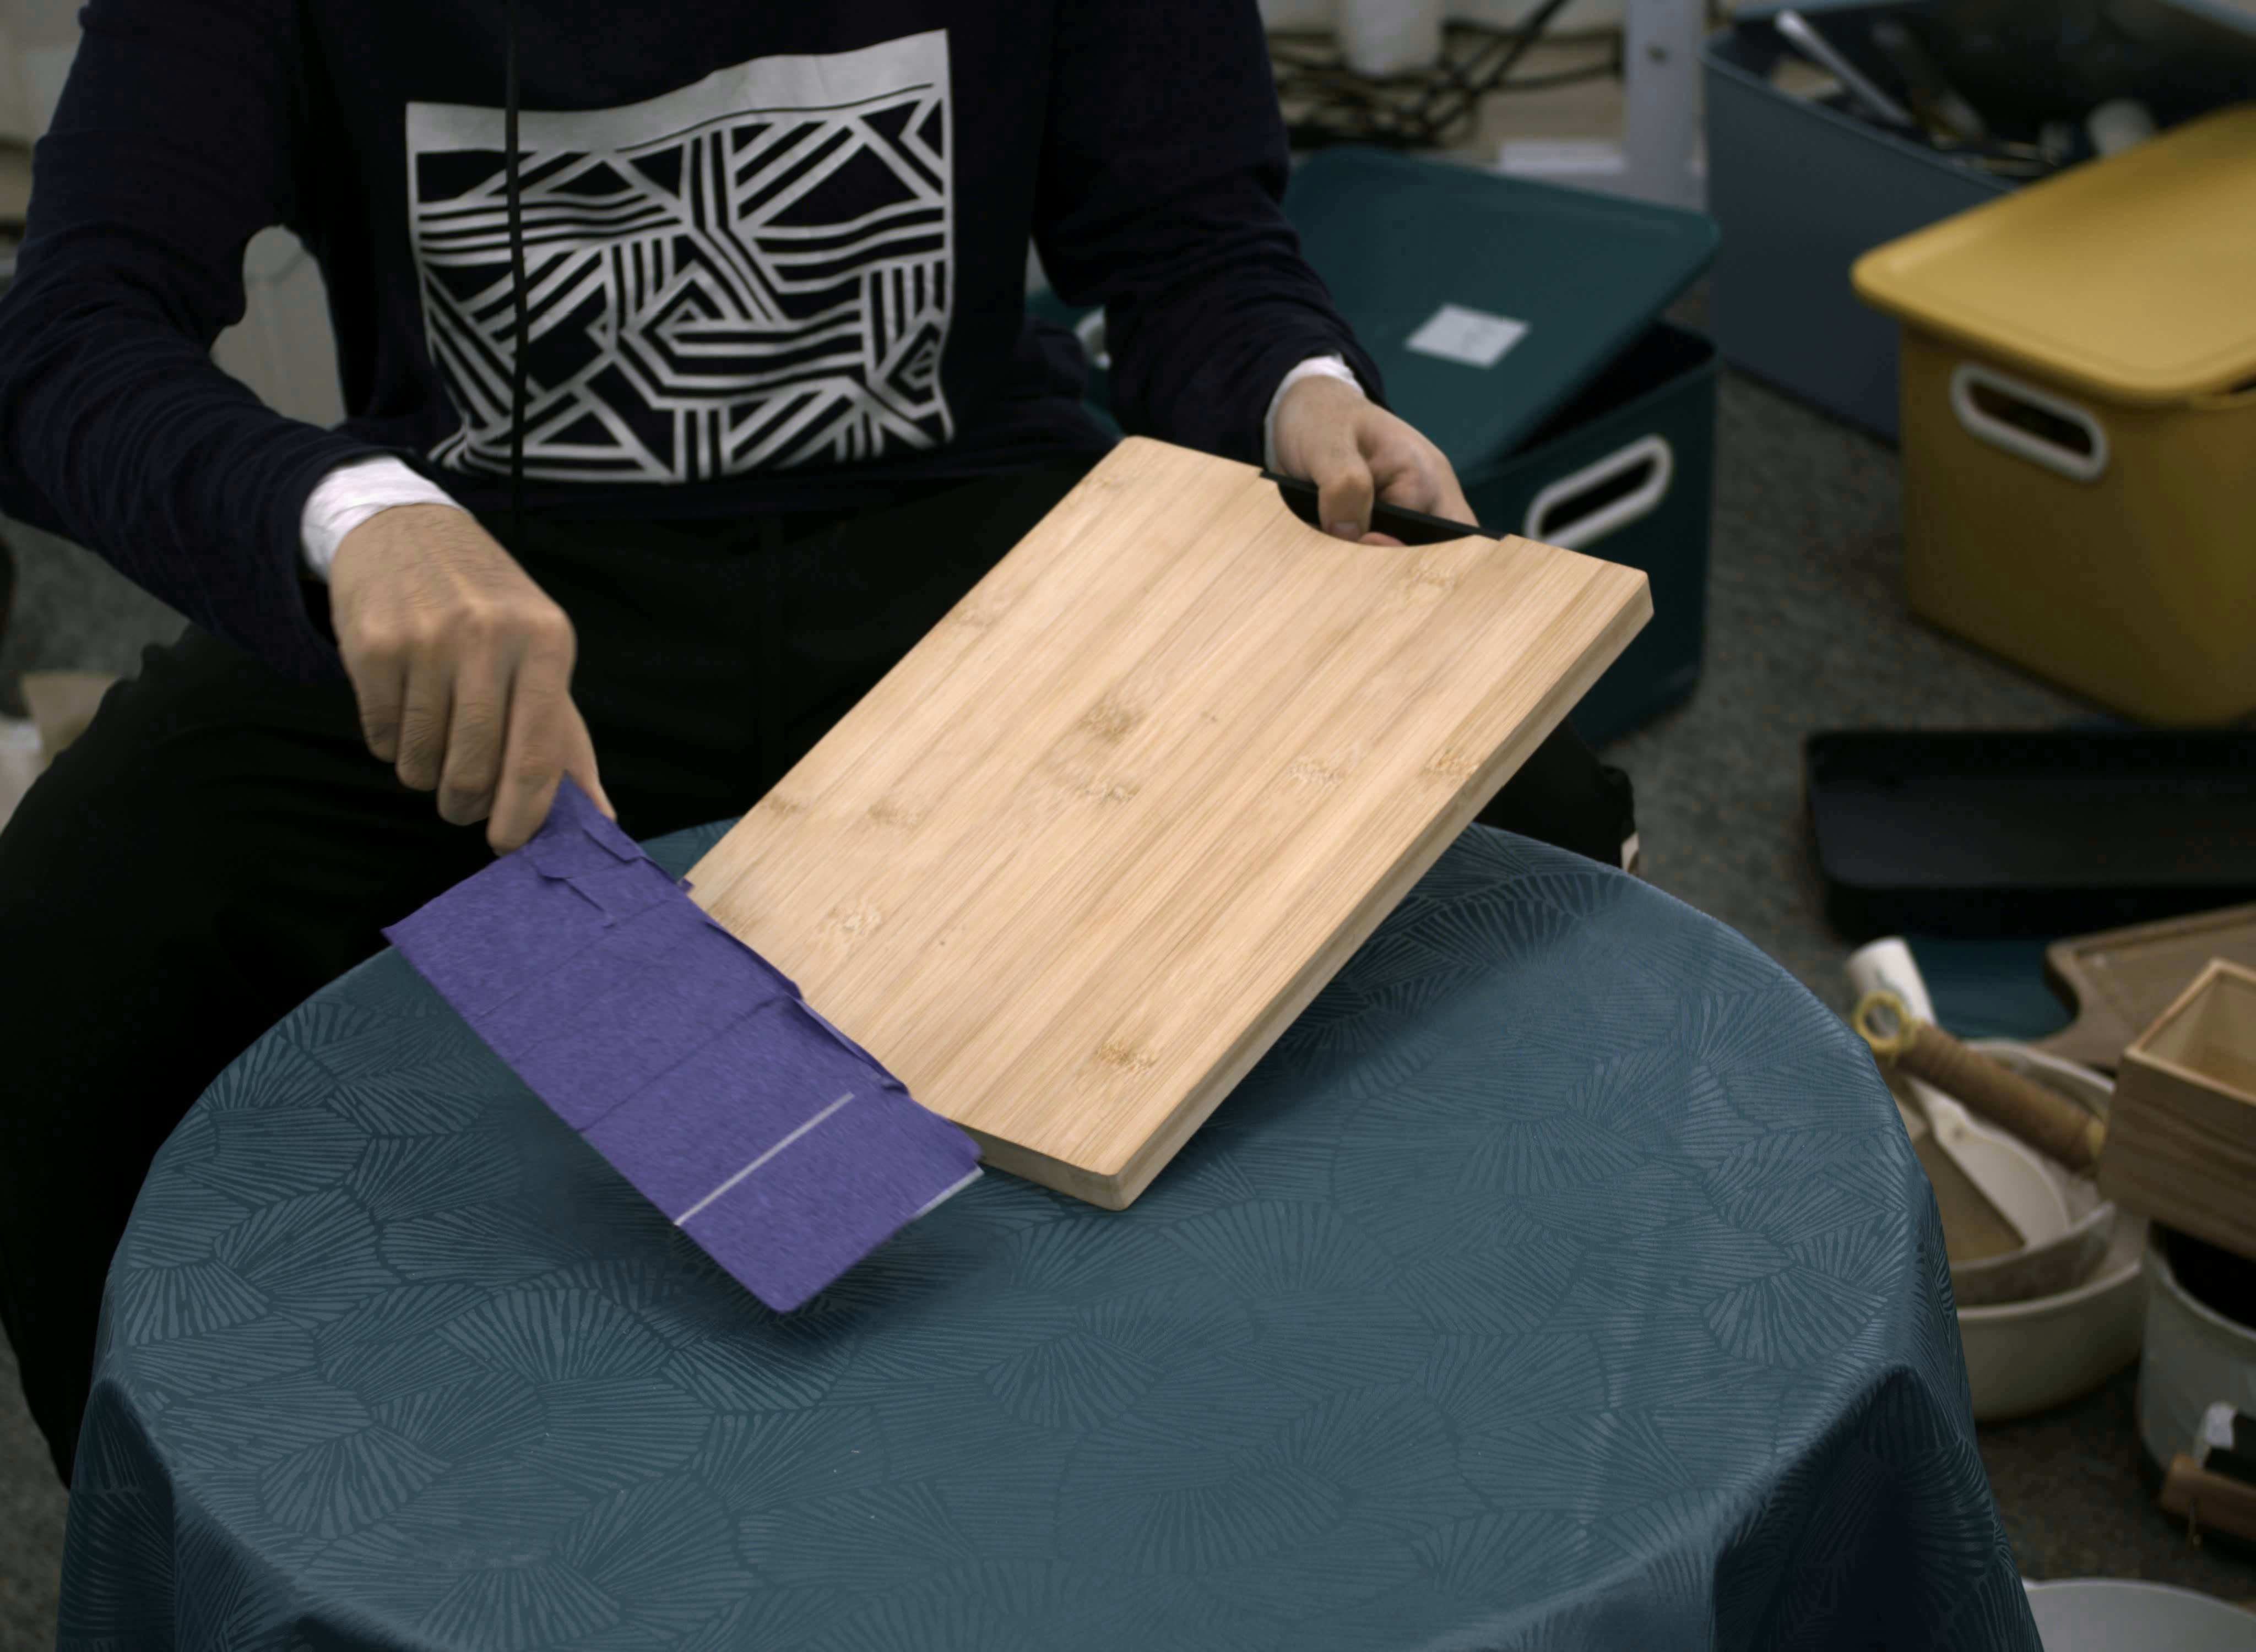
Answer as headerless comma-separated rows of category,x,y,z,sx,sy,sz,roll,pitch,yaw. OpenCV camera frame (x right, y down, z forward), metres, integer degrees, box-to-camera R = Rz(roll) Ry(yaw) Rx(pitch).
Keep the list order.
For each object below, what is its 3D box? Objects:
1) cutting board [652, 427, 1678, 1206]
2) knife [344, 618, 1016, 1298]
cutting board,0.003,-0.014,2.010,0.249,0.023,0.354,17,47,33
knife,-0.177,0.040,1.861,0.105,0.031,0.316,-32,56,-30
